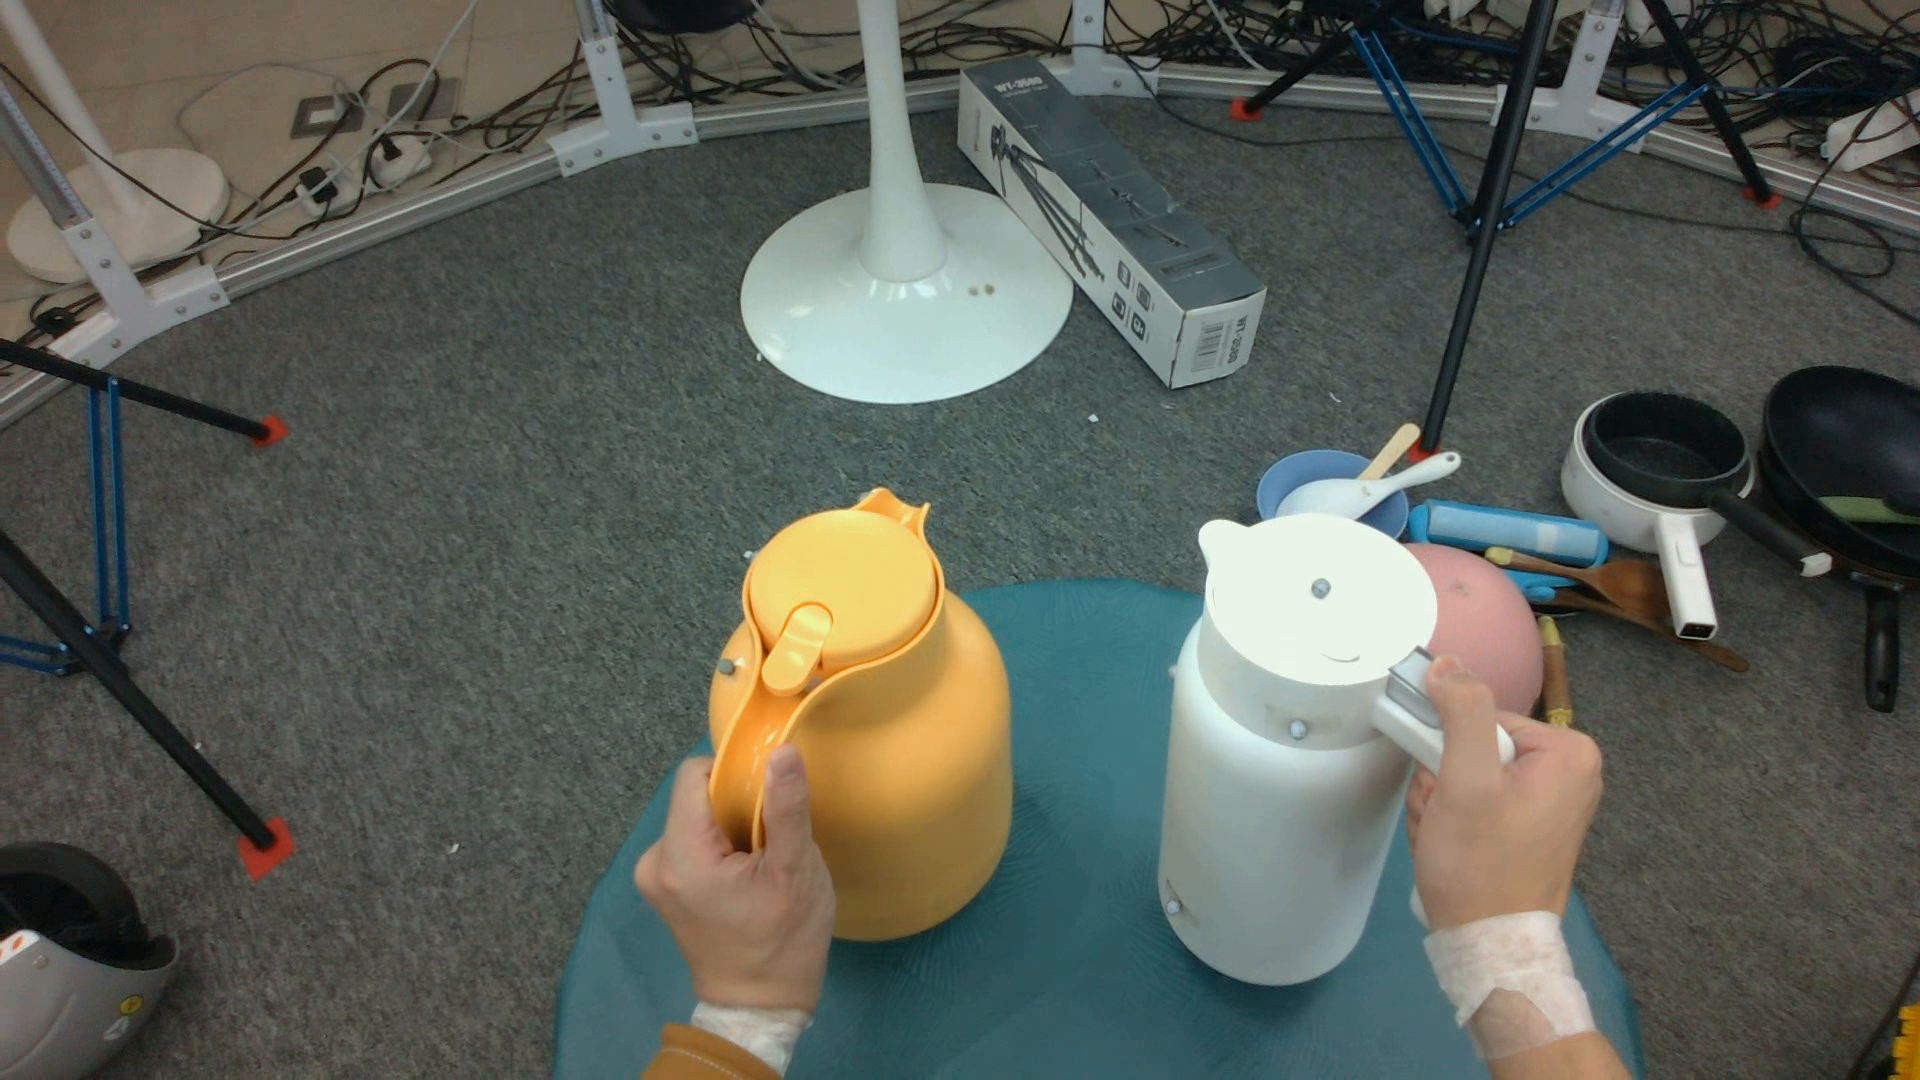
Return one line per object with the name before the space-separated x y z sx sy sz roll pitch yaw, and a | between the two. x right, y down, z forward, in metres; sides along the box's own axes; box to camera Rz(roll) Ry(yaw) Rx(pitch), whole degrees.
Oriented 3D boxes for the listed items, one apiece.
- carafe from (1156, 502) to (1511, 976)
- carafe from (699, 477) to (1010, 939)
carafe | 0.174 0.117 0.687 0.124 0.267 0.173 -31 52 -25
carafe | -0.064 0.105 0.730 0.163 0.259 0.203 18 51 19
